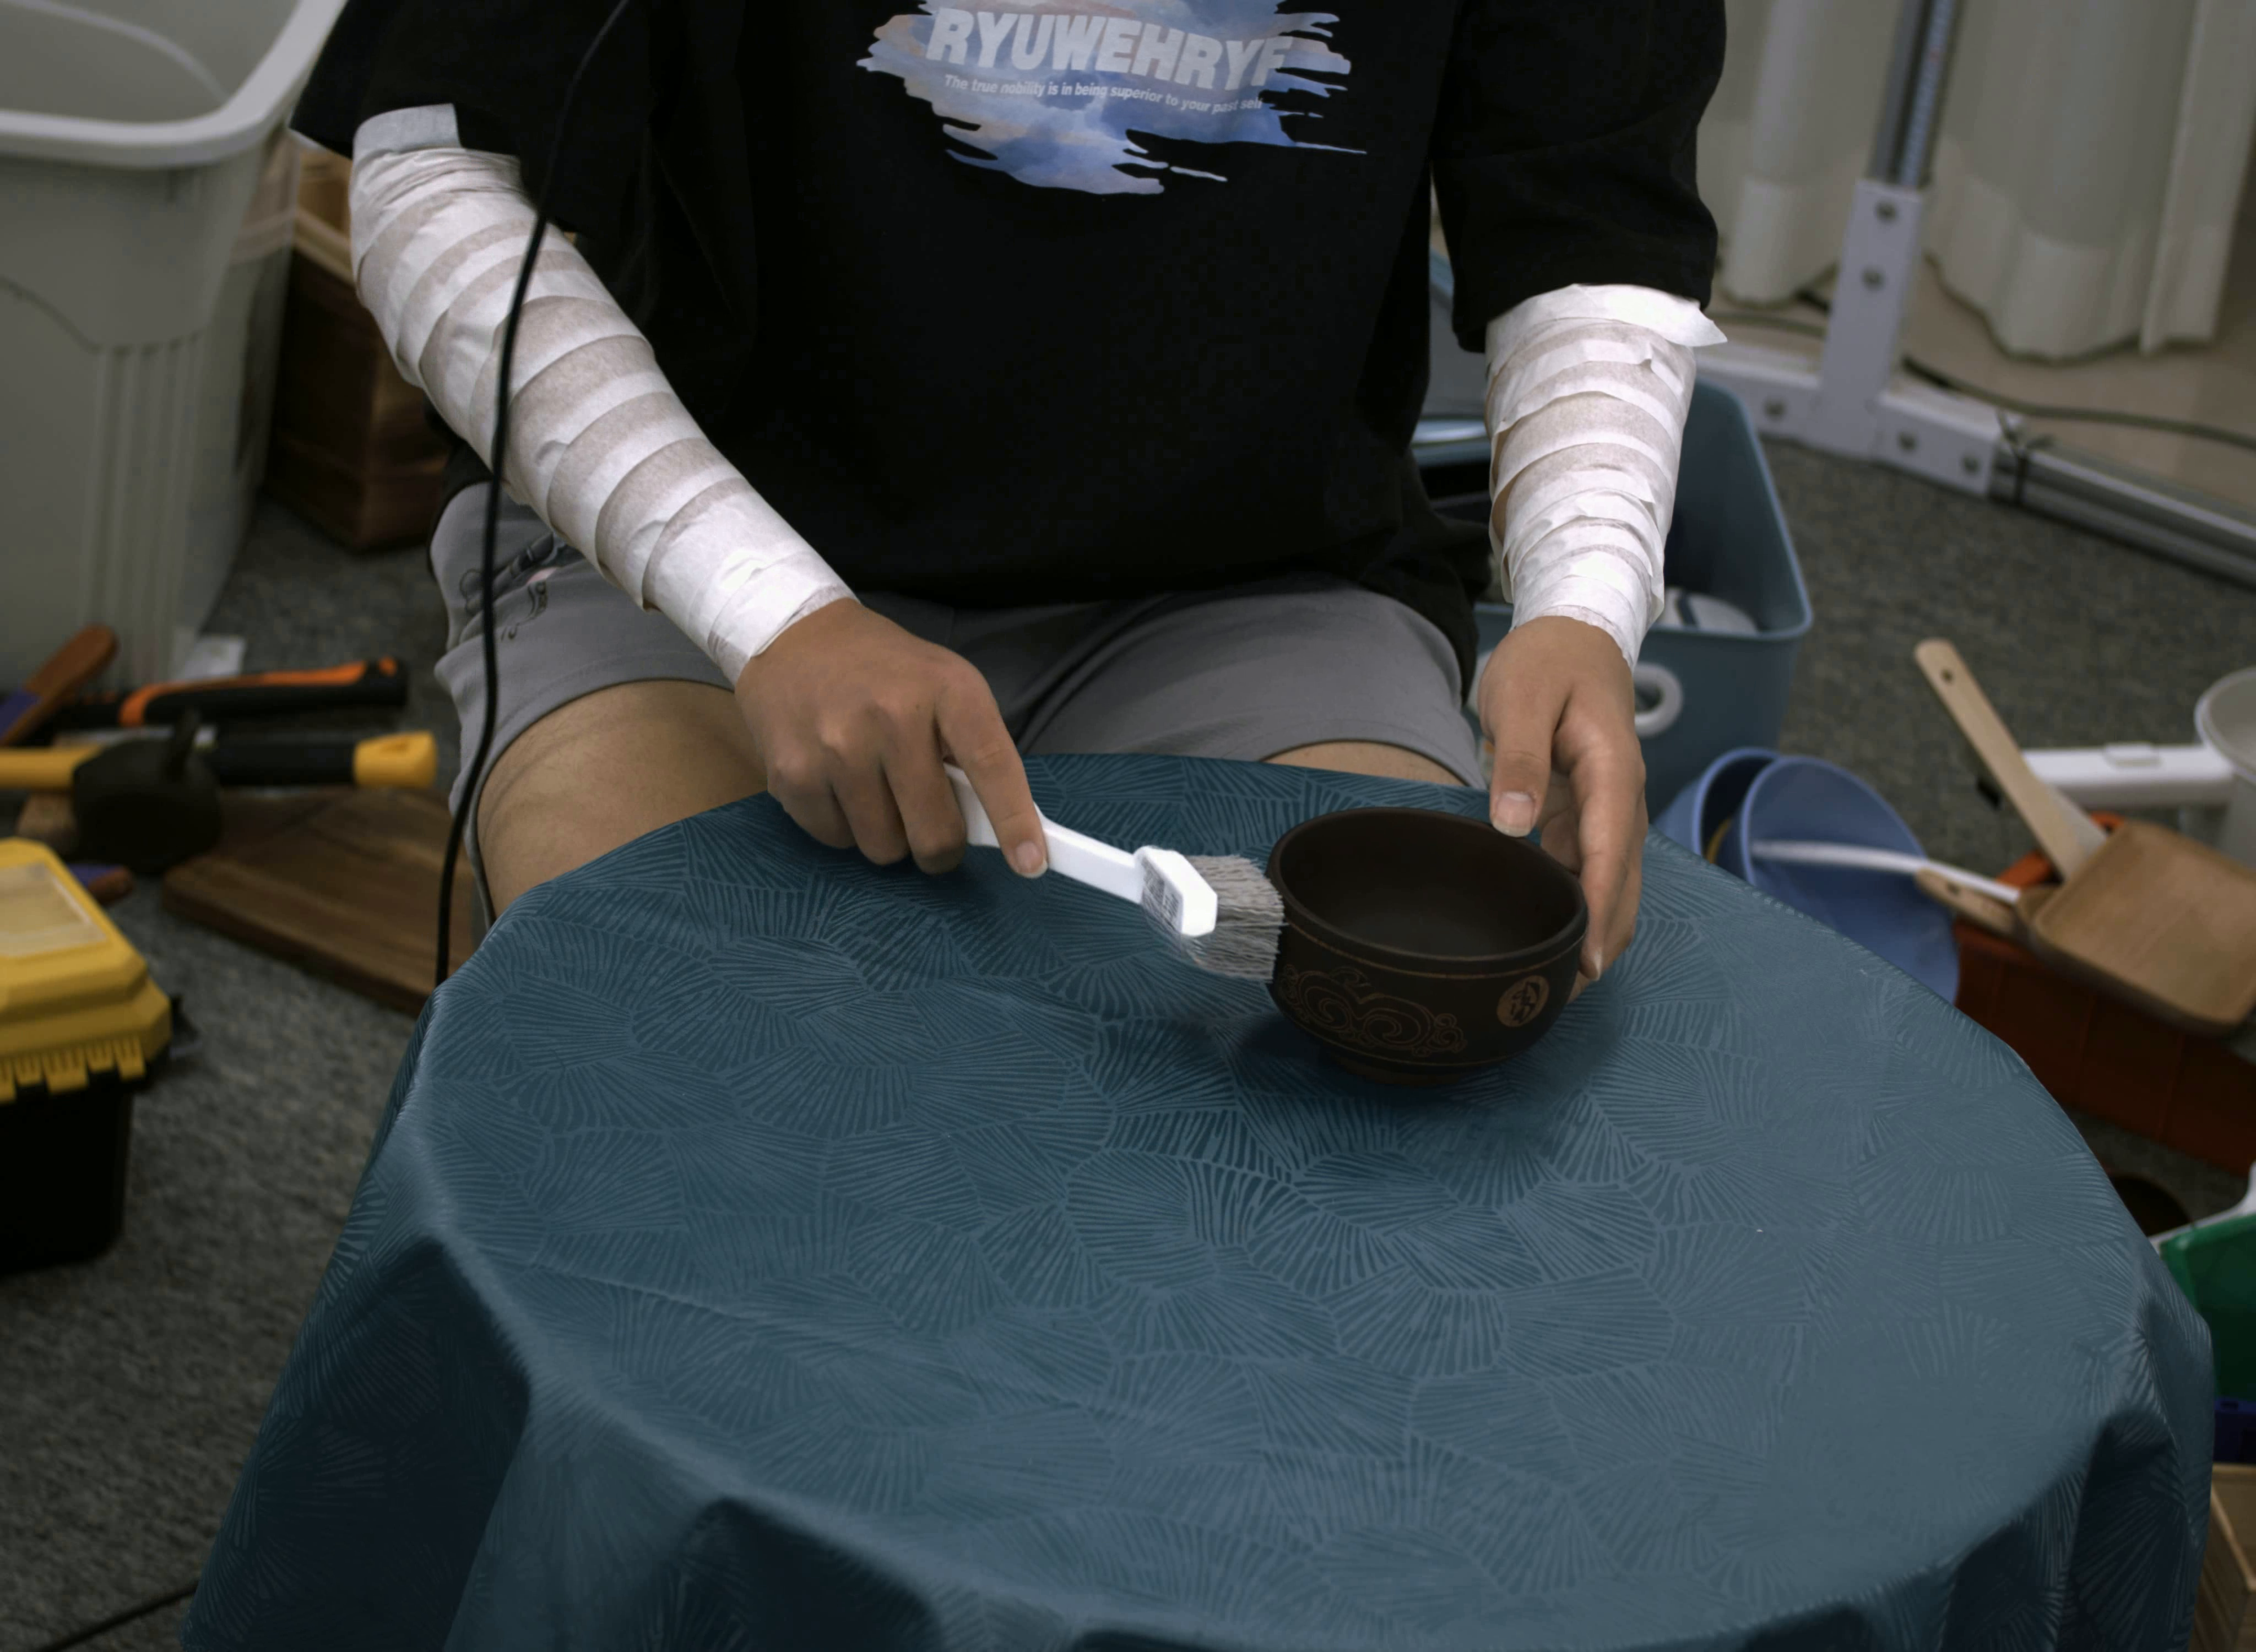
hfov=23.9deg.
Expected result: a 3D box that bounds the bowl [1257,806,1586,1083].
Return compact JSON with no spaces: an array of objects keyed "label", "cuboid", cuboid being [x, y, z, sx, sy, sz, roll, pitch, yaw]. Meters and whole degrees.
[{"label":"bowl","cuboid":[0.102,0.048,1.896,0.117,0.069,0.118,4,25,-2]}]

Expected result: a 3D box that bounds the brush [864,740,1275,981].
[{"label":"brush","cuboid":[-0.020,0.009,1.950,0.050,0.034,0.245,2,14,-33]}]
